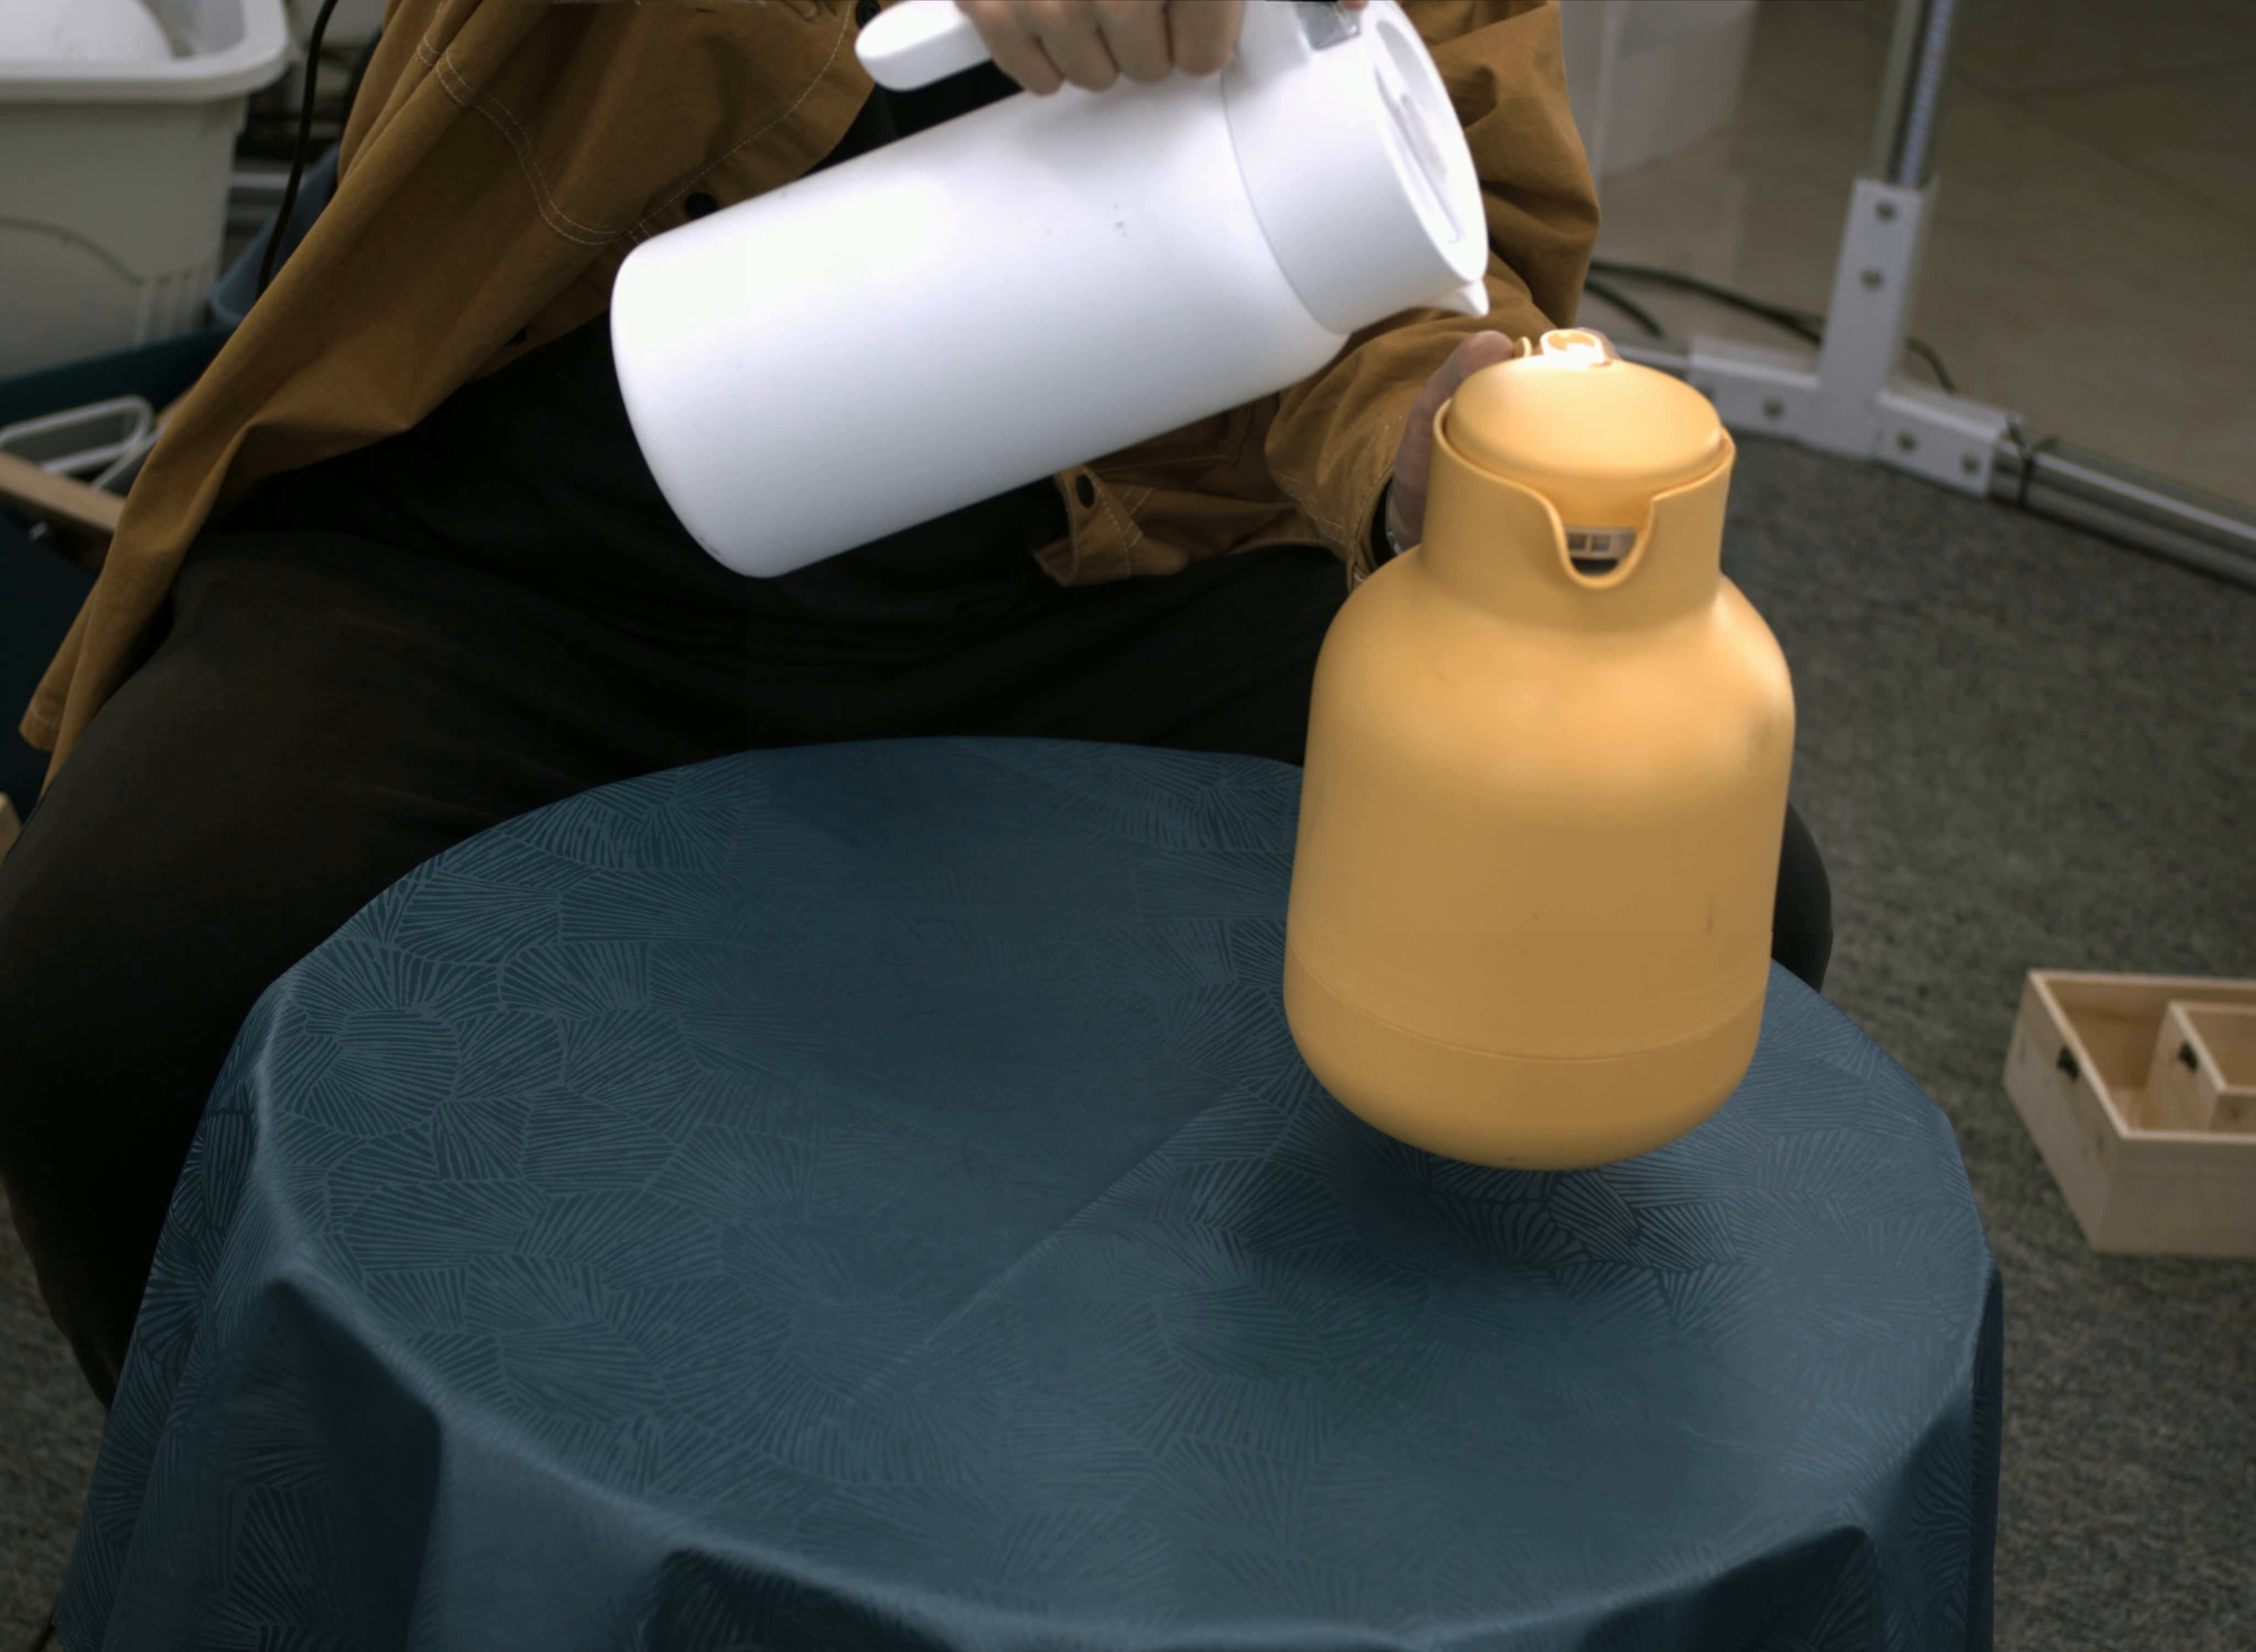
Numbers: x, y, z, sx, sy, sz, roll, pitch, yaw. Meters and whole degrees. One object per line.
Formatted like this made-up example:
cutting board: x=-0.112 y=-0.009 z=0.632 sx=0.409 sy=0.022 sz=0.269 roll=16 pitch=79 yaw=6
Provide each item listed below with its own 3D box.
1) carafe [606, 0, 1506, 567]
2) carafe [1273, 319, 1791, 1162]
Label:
carafe: x=-0.034 y=-0.189 z=1.686 sx=0.269 sy=0.171 sz=0.124 roll=-18 pitch=35 yaw=21
carafe: x=0.140 y=-0.038 z=1.778 sx=0.163 sy=0.259 sz=0.203 roll=6 pitch=30 yaw=0
